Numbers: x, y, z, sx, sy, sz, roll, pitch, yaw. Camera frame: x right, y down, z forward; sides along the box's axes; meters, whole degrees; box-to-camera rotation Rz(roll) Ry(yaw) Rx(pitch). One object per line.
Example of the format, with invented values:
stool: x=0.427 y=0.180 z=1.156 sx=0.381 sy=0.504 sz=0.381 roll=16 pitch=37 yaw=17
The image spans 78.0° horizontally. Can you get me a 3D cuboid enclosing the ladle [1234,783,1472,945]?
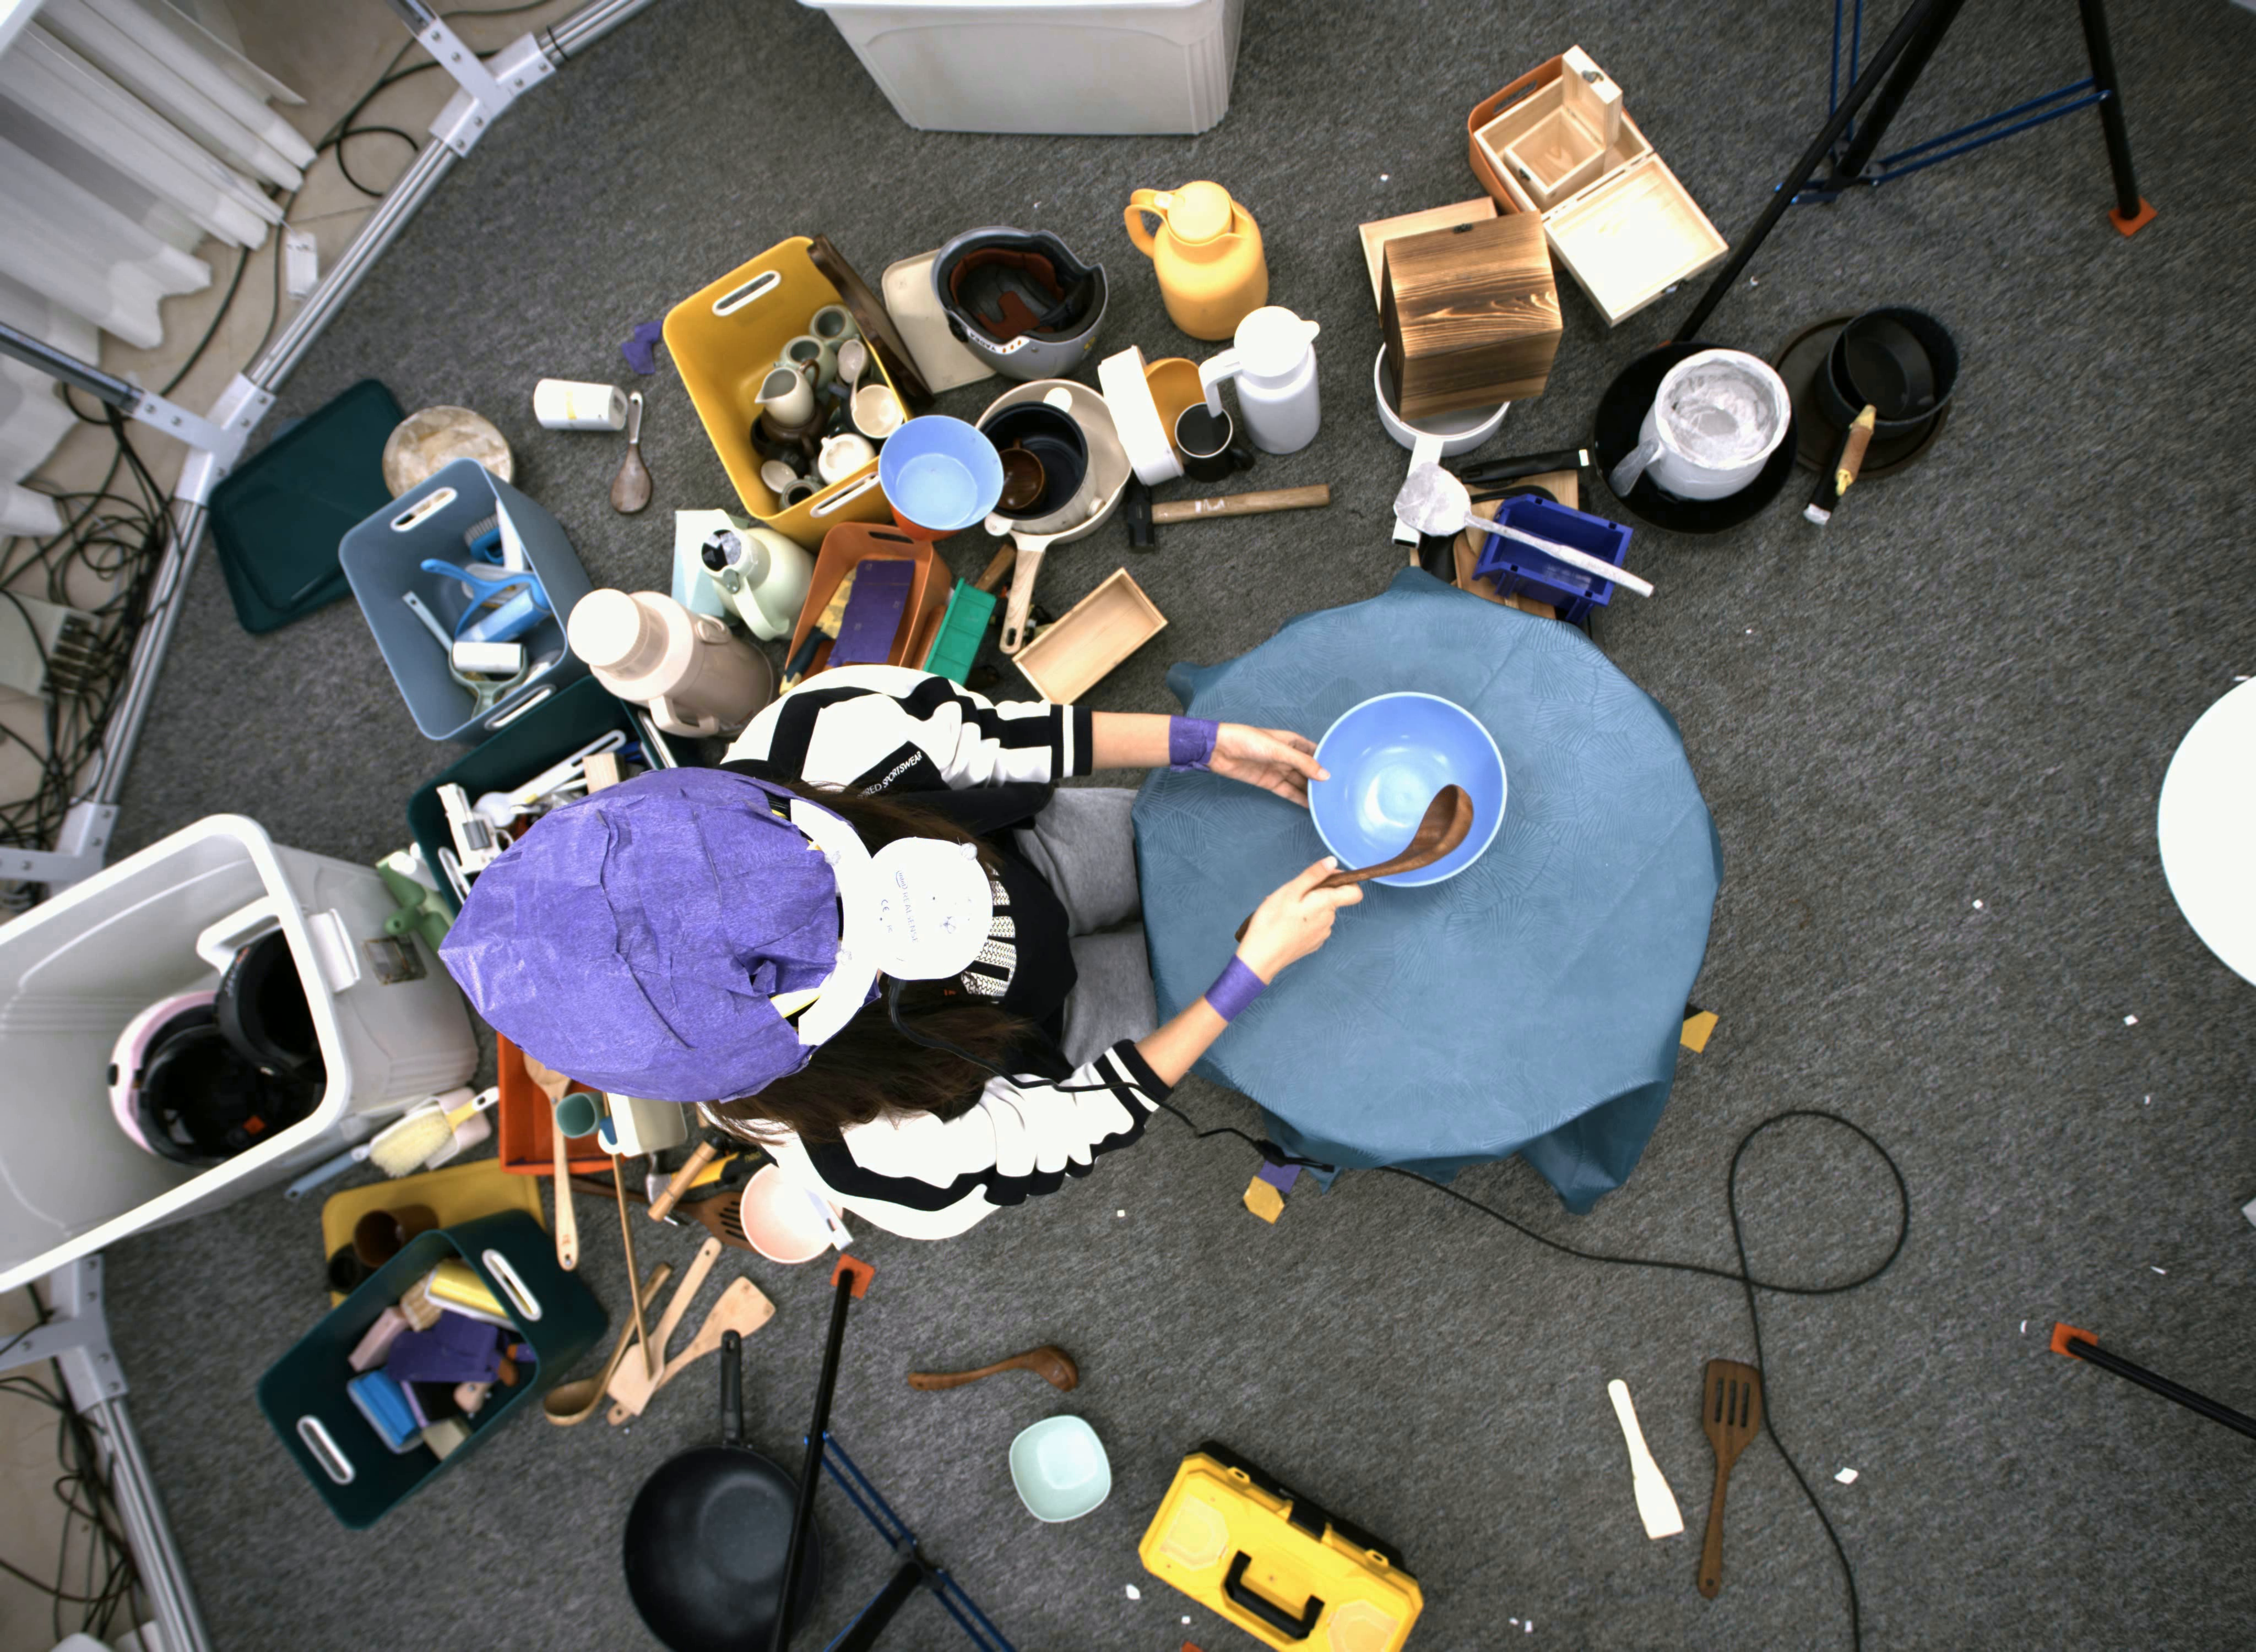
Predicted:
ladle: x=0.212 y=0.035 z=1.328 sx=0.261 sy=0.075 sz=0.065 roll=-24 pitch=100 yaw=6

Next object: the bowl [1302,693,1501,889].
bowl: x=0.277 y=-0.036 z=1.418 sx=0.197 sy=0.095 sz=0.196 roll=0 pitch=91 yaw=6
